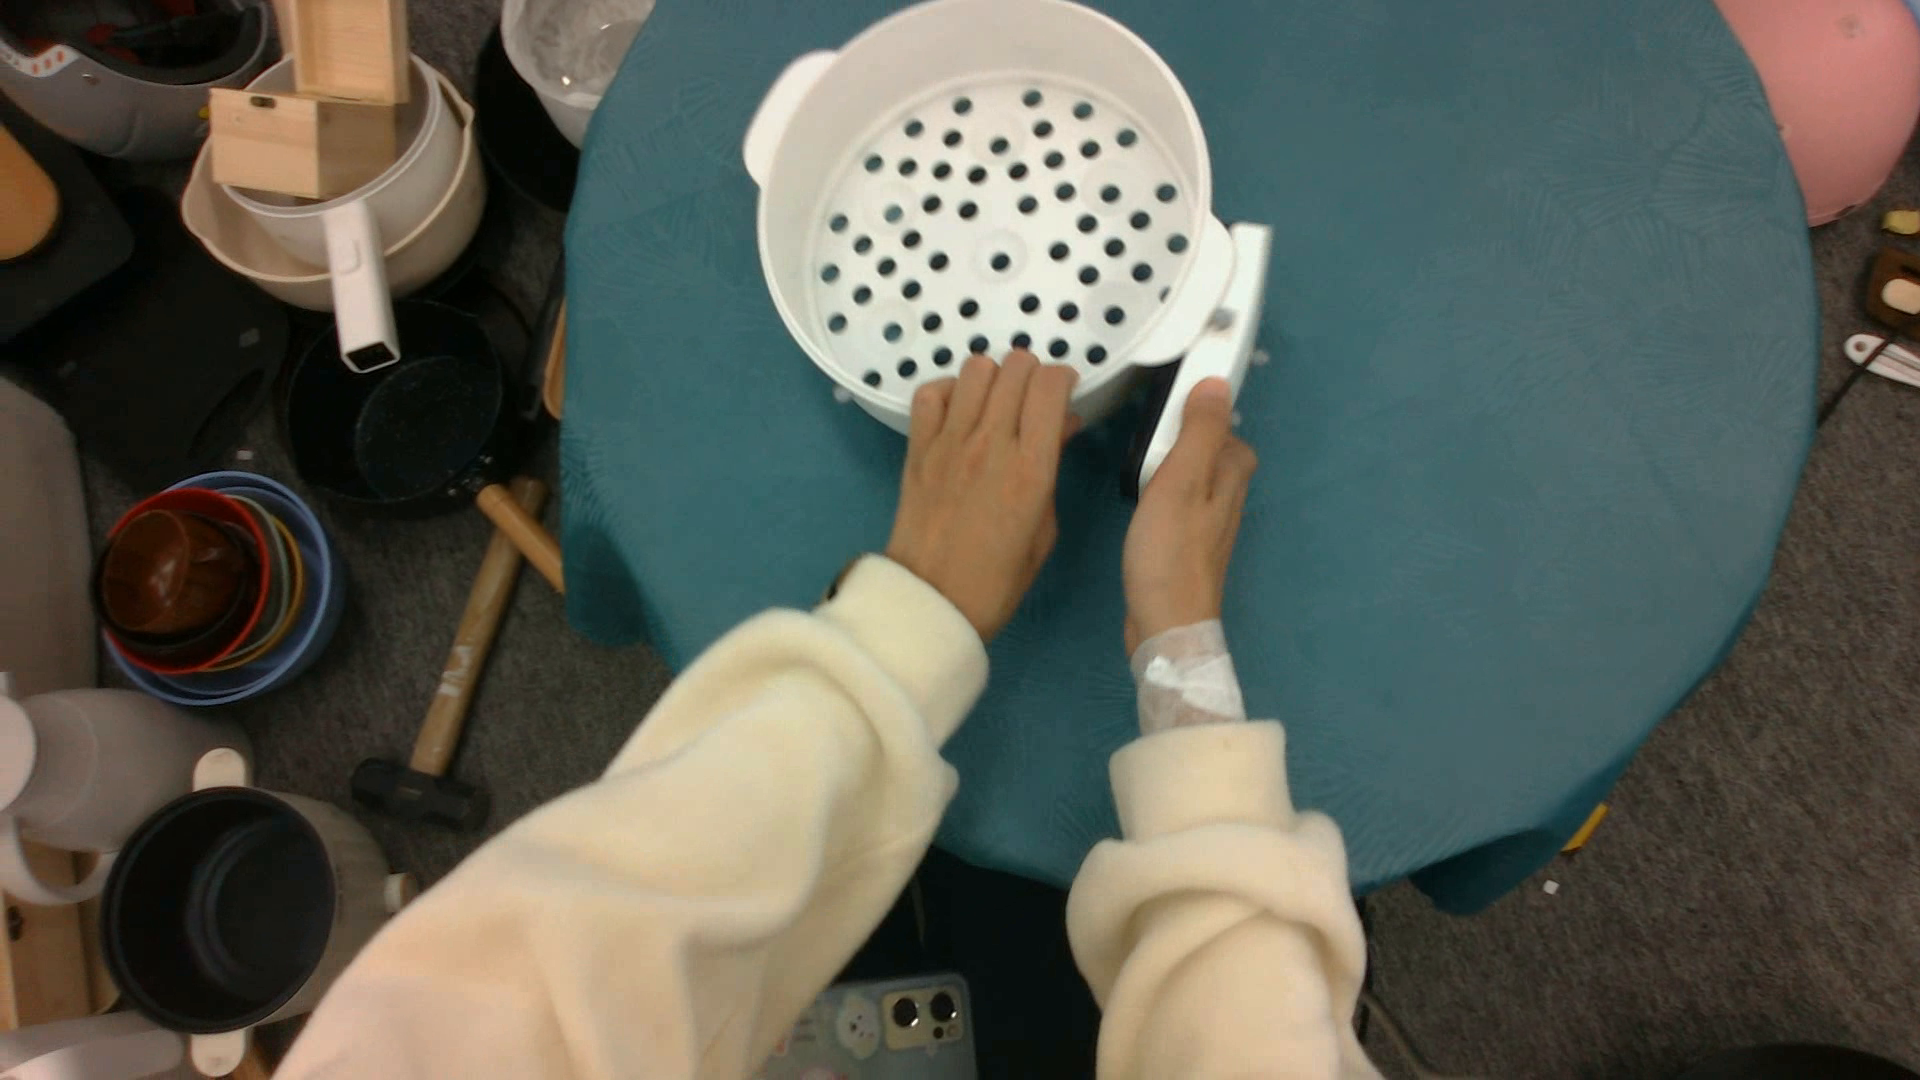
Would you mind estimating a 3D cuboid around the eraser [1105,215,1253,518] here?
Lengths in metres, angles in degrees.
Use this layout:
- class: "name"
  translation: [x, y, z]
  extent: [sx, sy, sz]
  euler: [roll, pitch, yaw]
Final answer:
- class: "eraser"
  translation: [0.099, -0.076, 0.595]
  extent: [0.034, 0.063, 0.131]
  euler: [19, 74, 12]

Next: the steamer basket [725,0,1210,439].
- class: "steamer basket"
  translation: [0.004, -0.145, 0.629]
  extent: [0.230, 0.069, 0.202]
  euler: [27, 82, 18]
